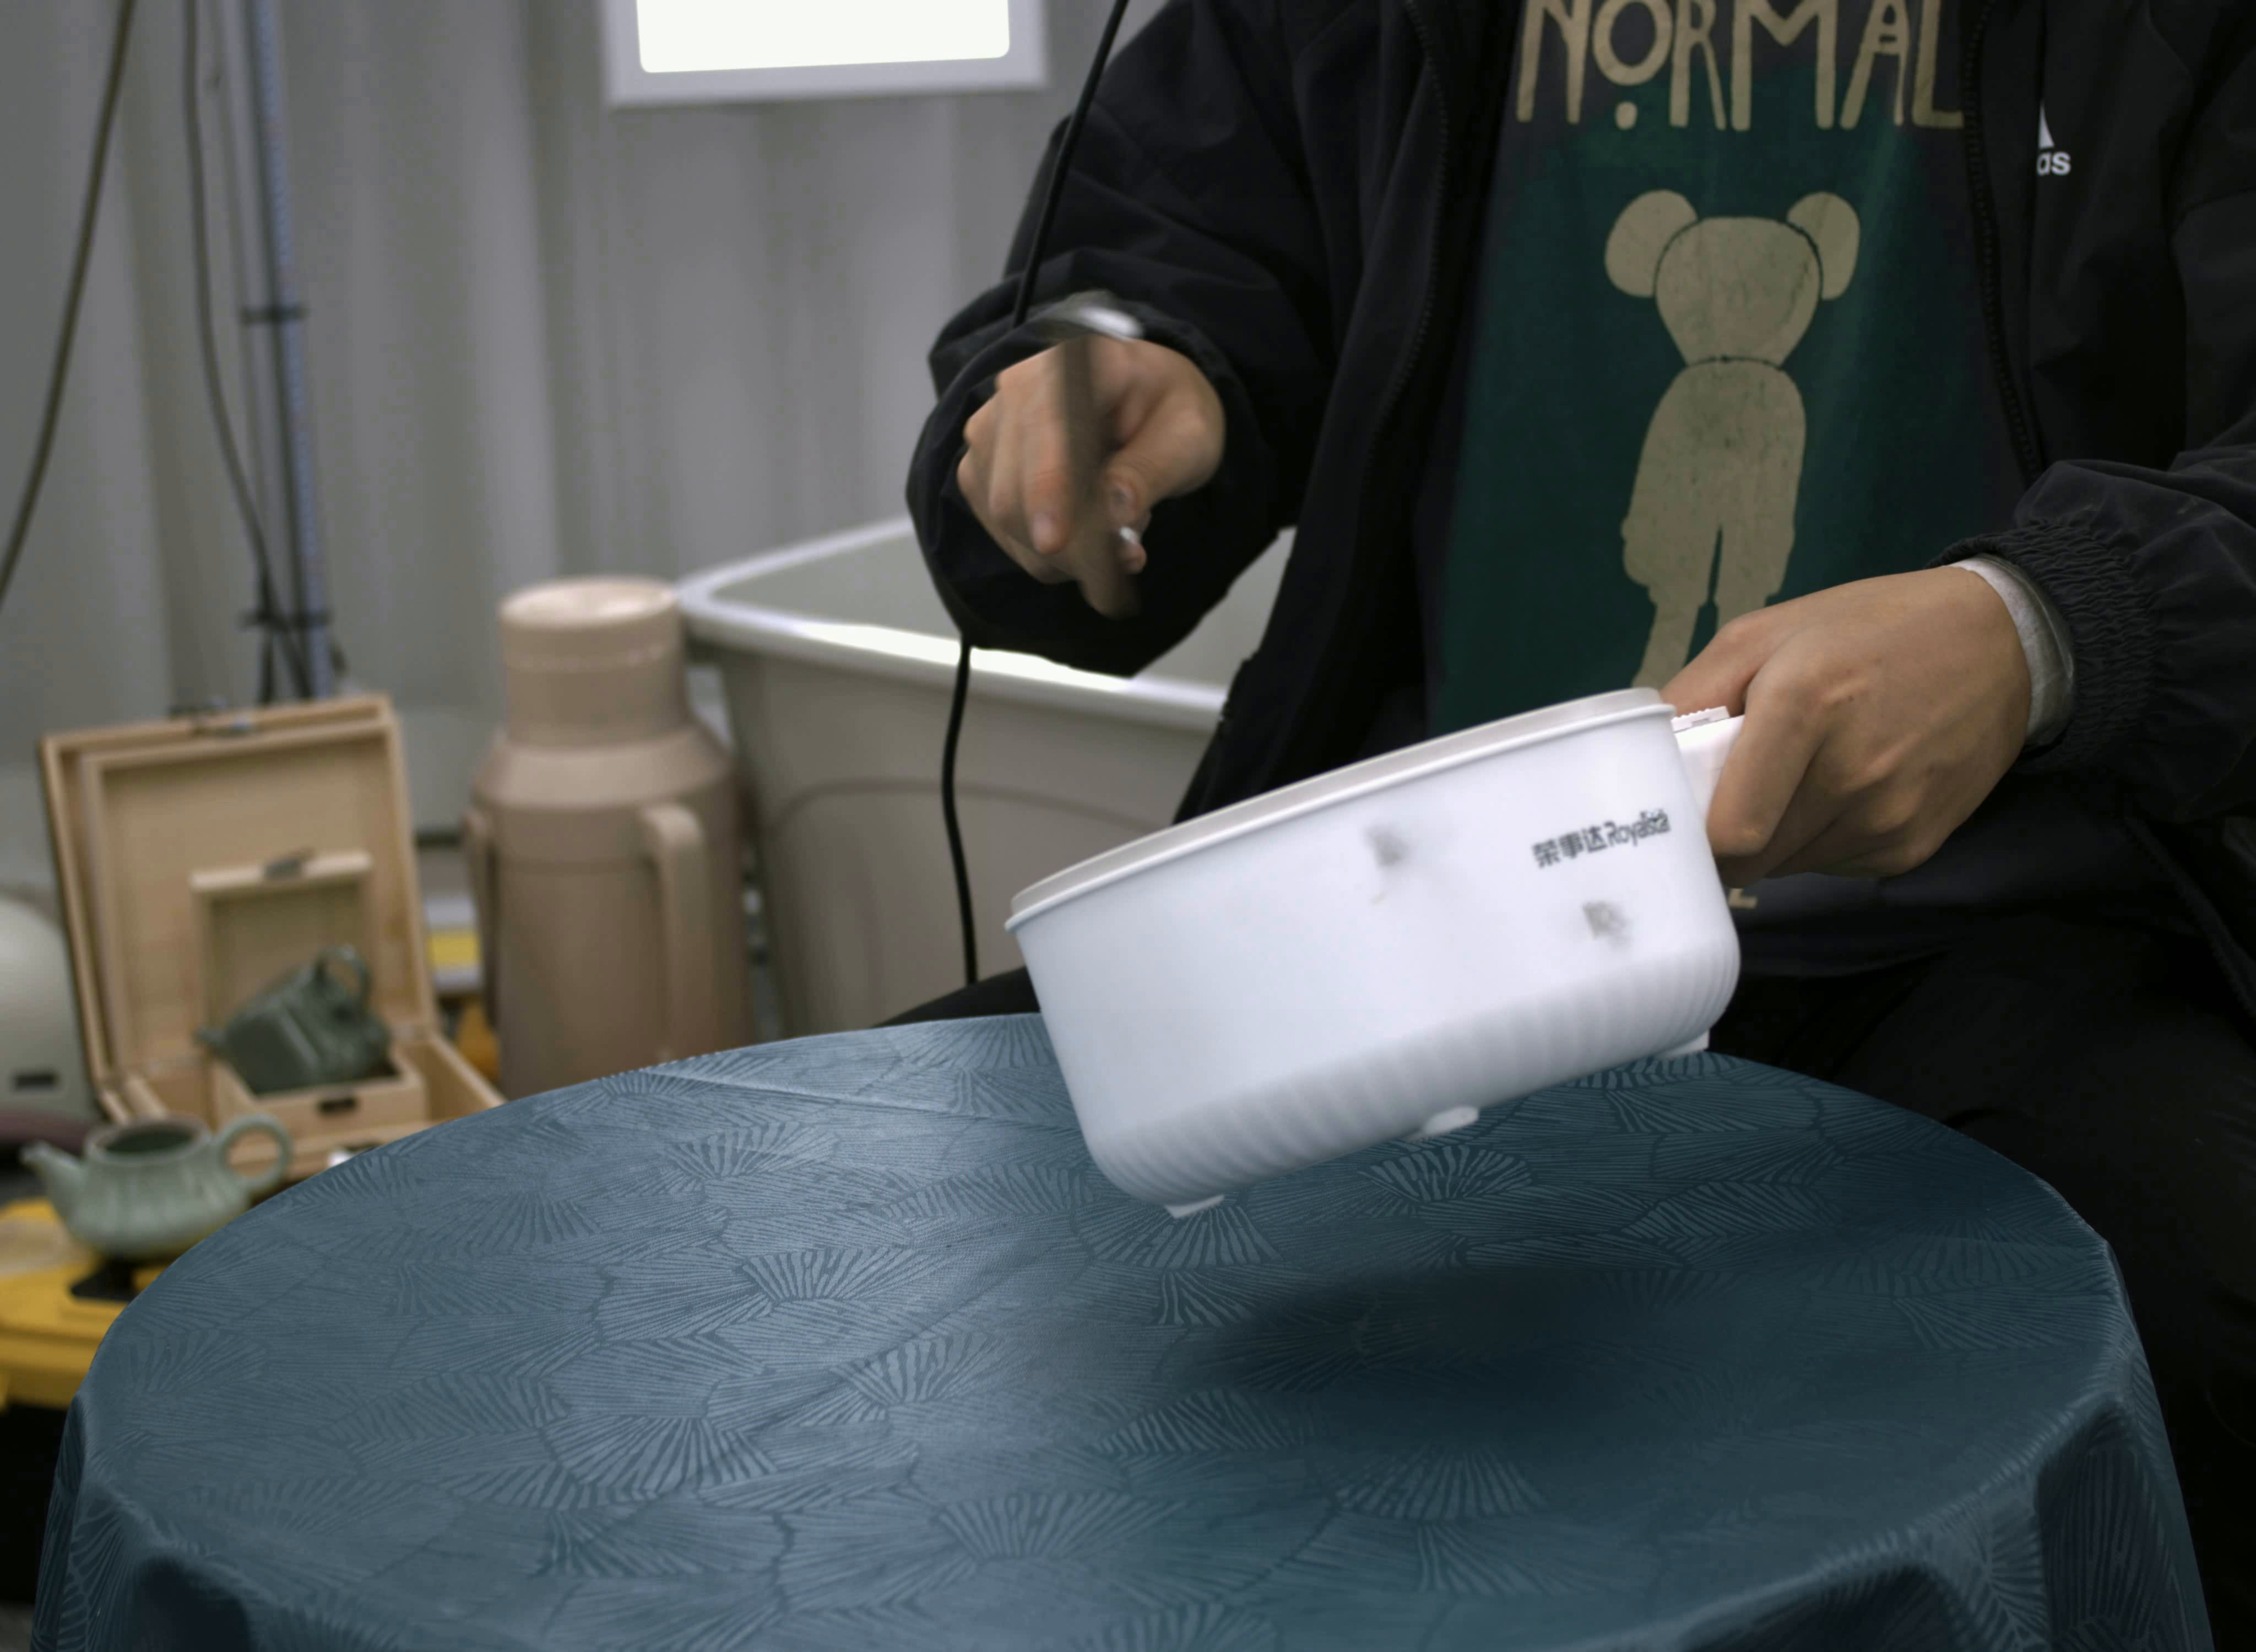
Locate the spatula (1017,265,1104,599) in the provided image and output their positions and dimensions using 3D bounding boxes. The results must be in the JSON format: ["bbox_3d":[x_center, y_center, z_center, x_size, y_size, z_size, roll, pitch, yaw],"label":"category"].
[{"bbox_3d":[-0.020,-0.114,1.732,0.016,0.096,0.386,-10,0,0],"label":"spatula"}]

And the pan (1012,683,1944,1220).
[{"bbox_3d":[0.128,0.029,1.606,0.353,0.102,0.200,-11,-9,-45],"label":"pan"}]
